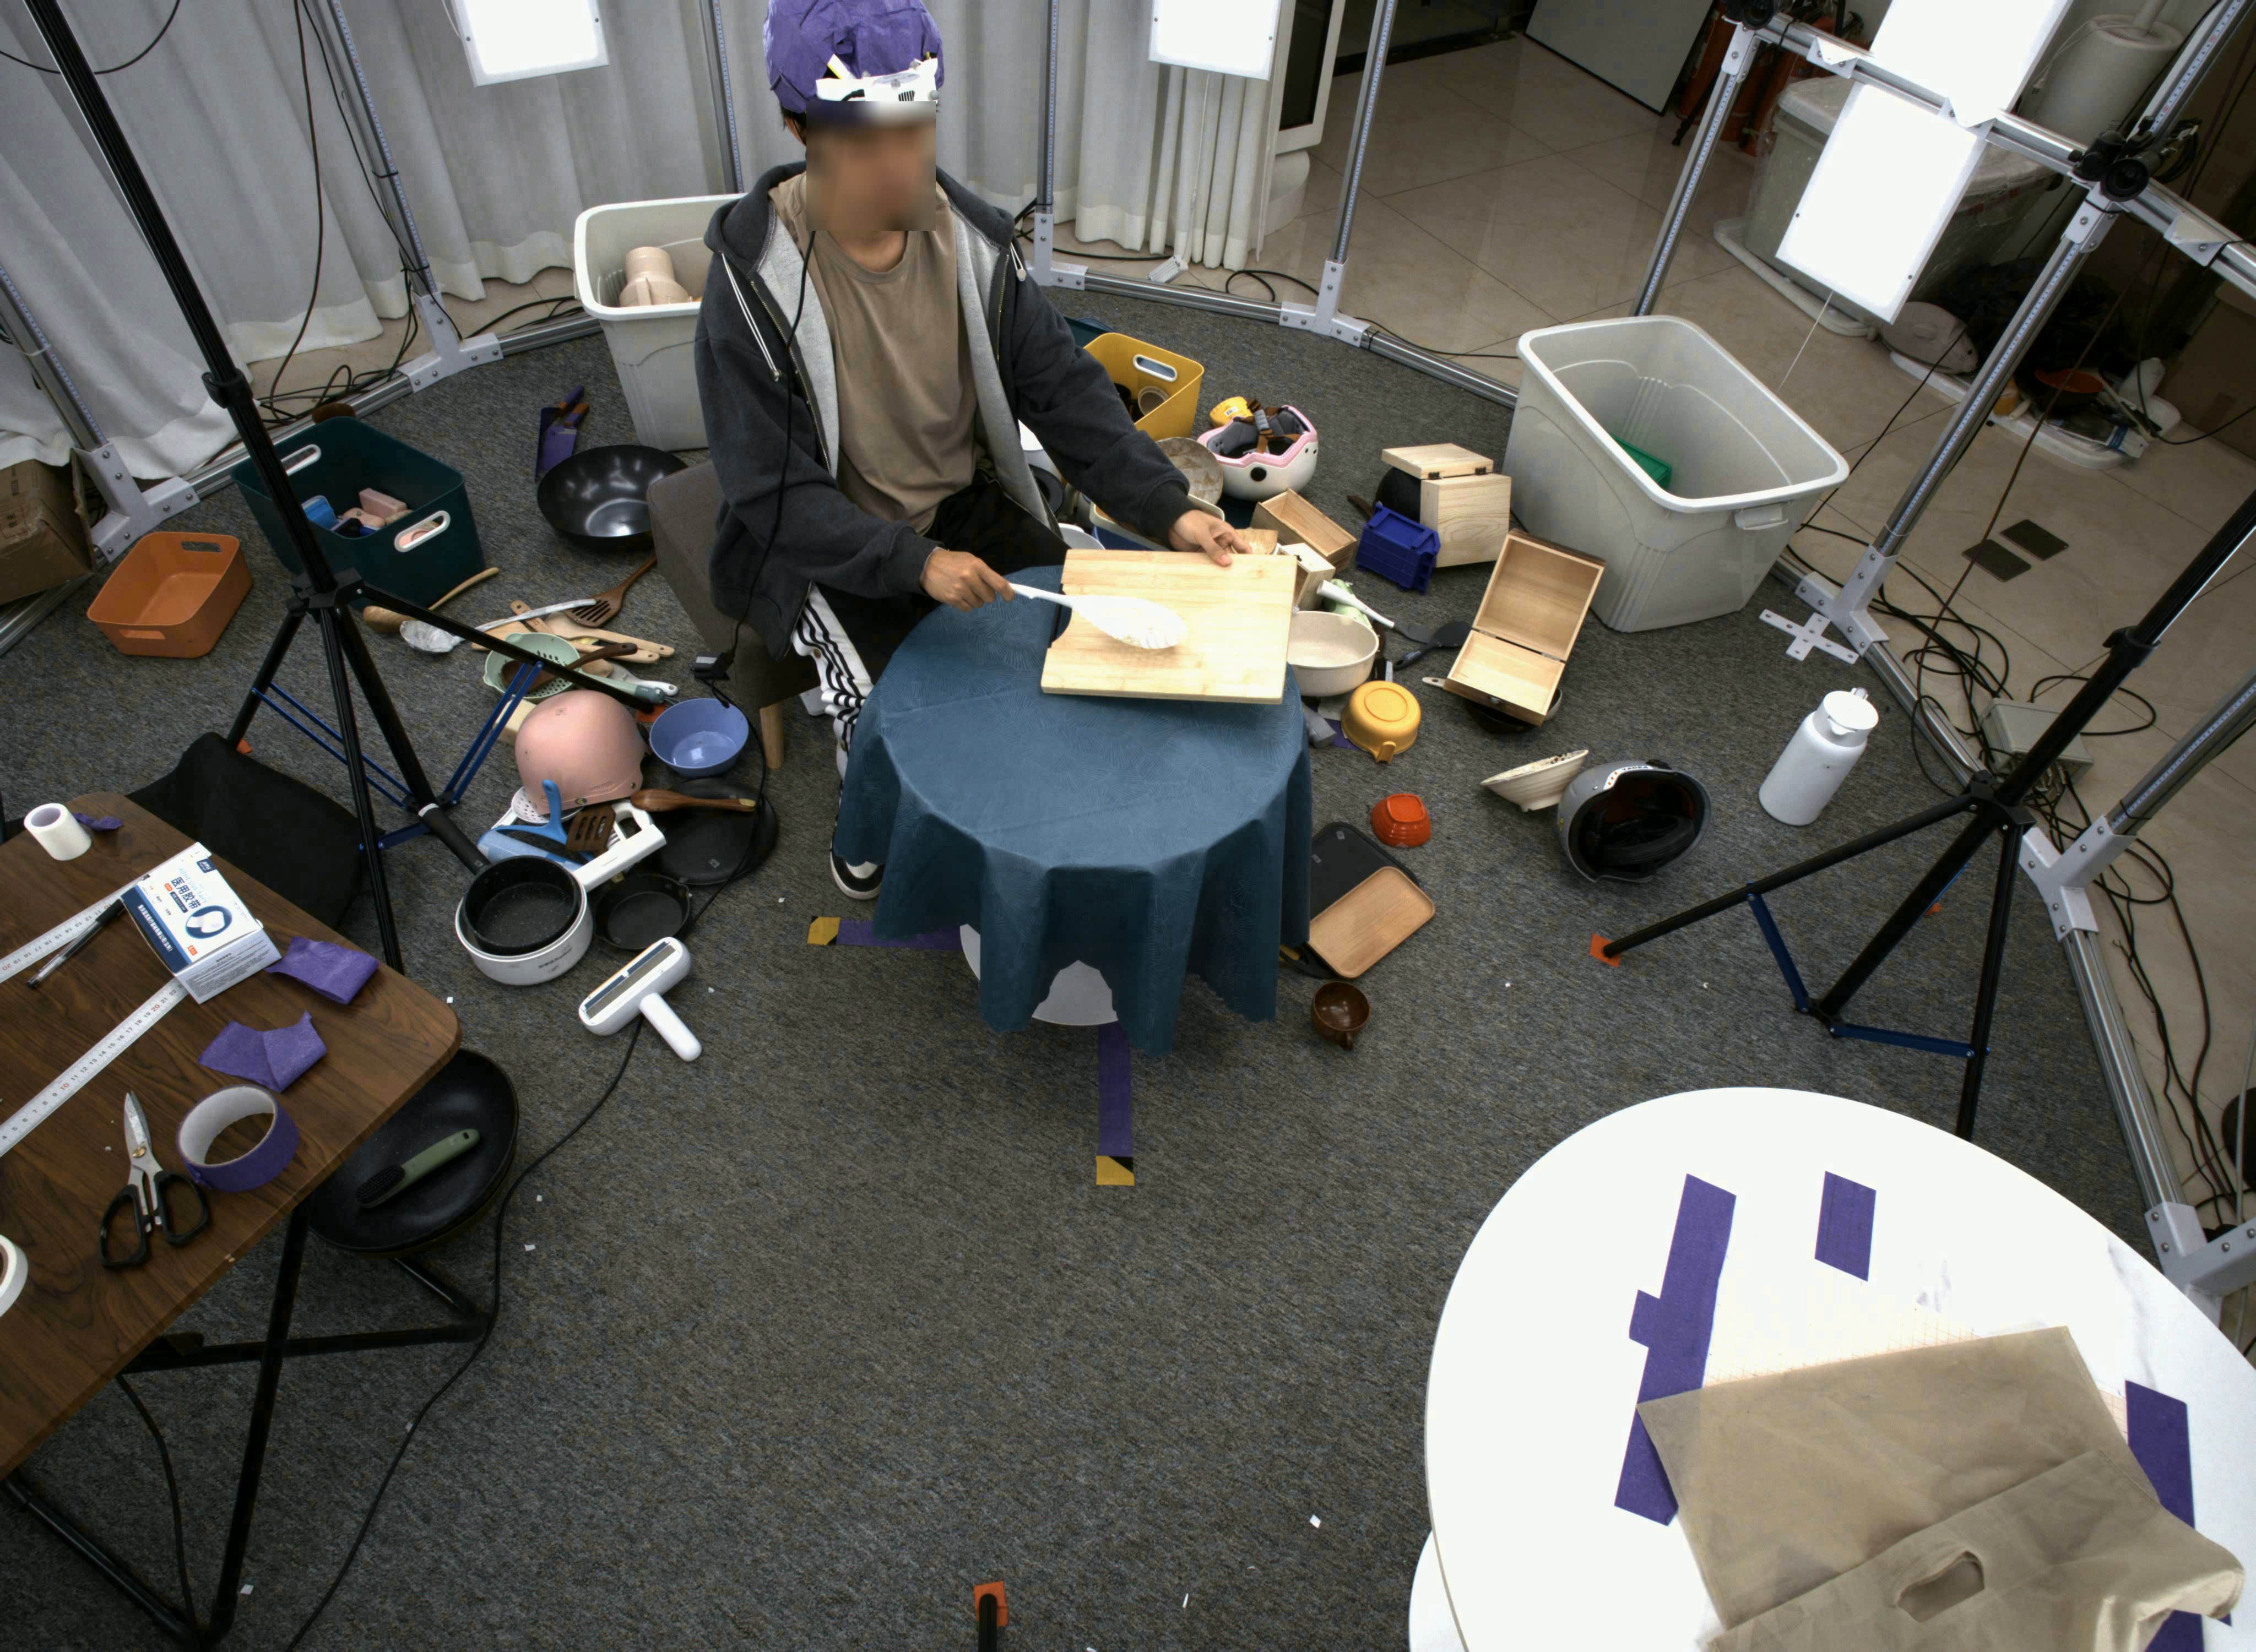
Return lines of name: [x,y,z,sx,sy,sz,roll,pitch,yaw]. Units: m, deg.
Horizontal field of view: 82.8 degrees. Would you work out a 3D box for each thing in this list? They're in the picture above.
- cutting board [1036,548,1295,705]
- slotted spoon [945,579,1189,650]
cutting board: [0.056,-0.289,1.837,0.349,0.023,0.255,3,63,12]
slotted spoon: [-0.086,-0.303,1.777,0.350,0.135,0.050,20,82,14]
